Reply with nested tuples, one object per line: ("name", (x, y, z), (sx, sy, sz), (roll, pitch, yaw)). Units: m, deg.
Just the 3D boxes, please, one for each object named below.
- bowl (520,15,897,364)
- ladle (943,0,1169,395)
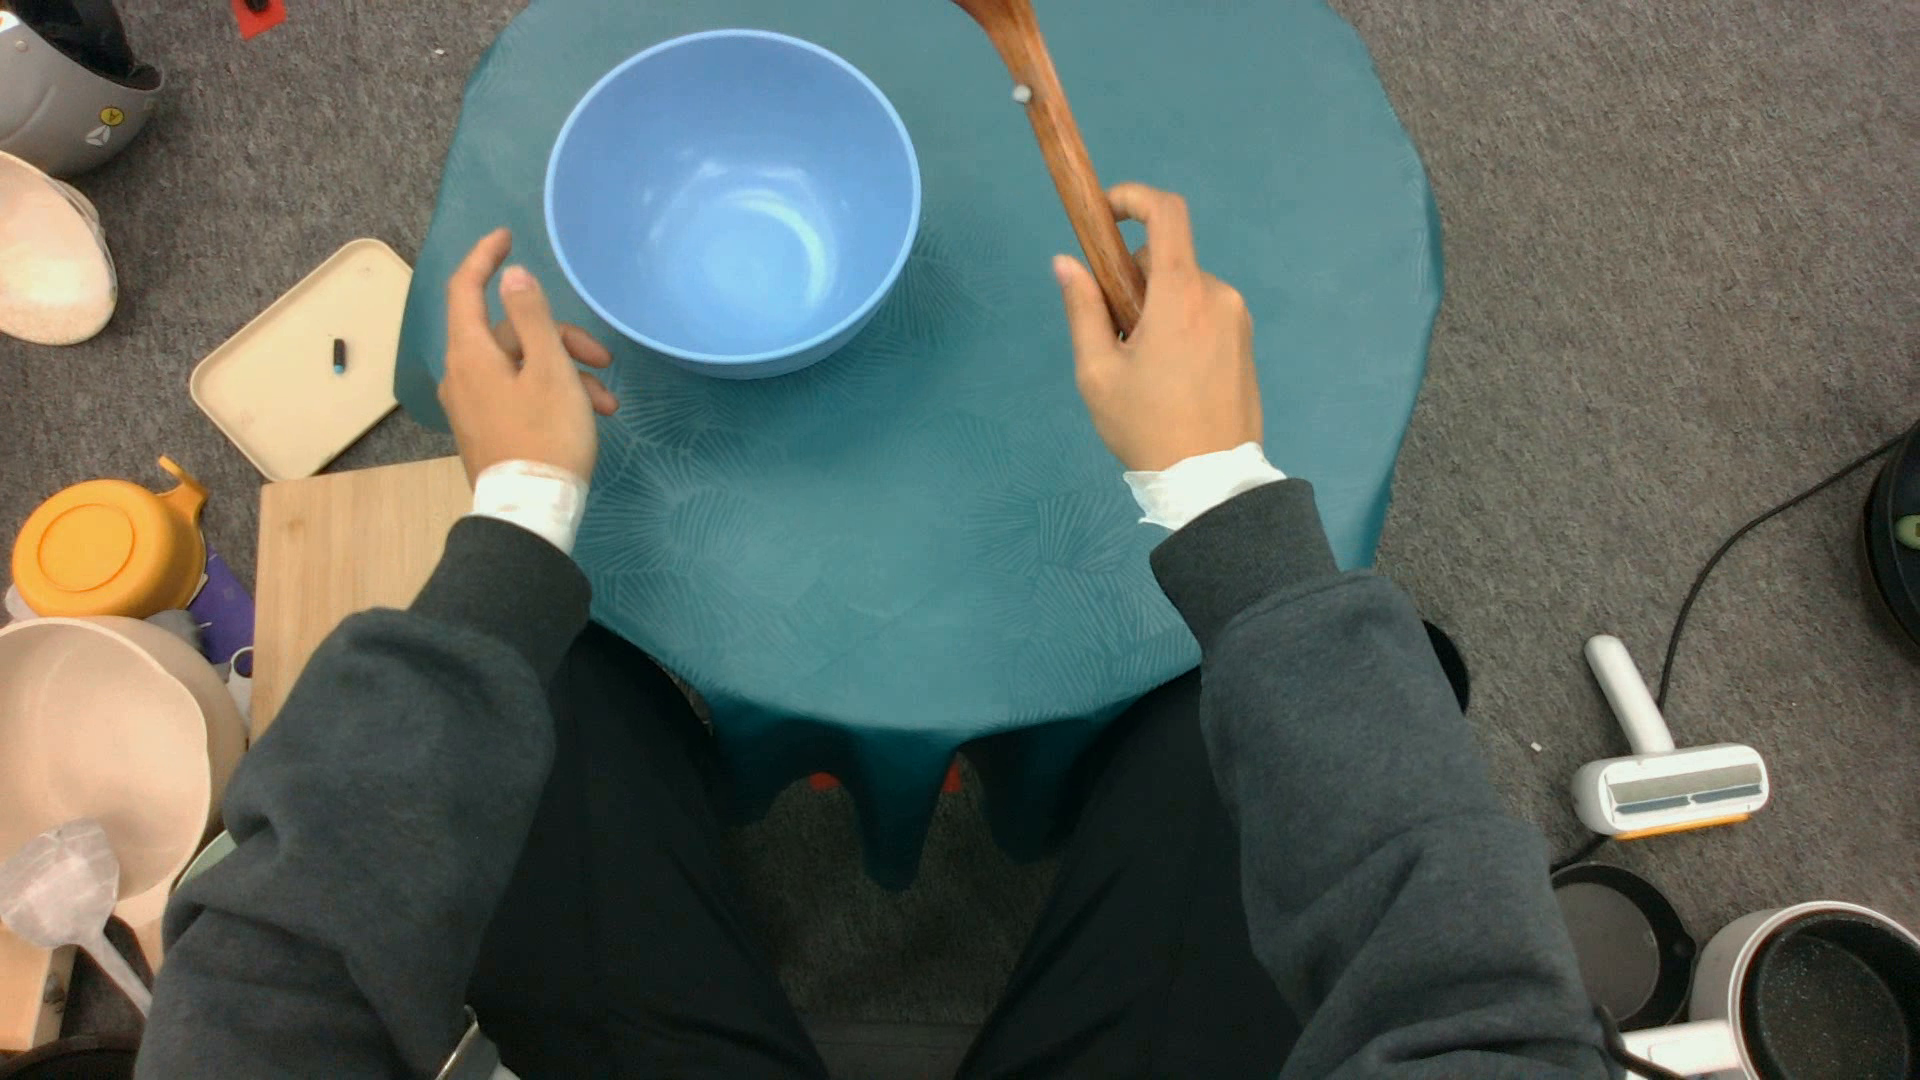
("bowl", (-0.134, -0.179, 0.768), (0.196, 0.095, 0.197), (1, 75, -3))
("ladle", (0.015, -0.180, 0.613), (0.077, 0.081, 0.274), (-30, 101, -32))
